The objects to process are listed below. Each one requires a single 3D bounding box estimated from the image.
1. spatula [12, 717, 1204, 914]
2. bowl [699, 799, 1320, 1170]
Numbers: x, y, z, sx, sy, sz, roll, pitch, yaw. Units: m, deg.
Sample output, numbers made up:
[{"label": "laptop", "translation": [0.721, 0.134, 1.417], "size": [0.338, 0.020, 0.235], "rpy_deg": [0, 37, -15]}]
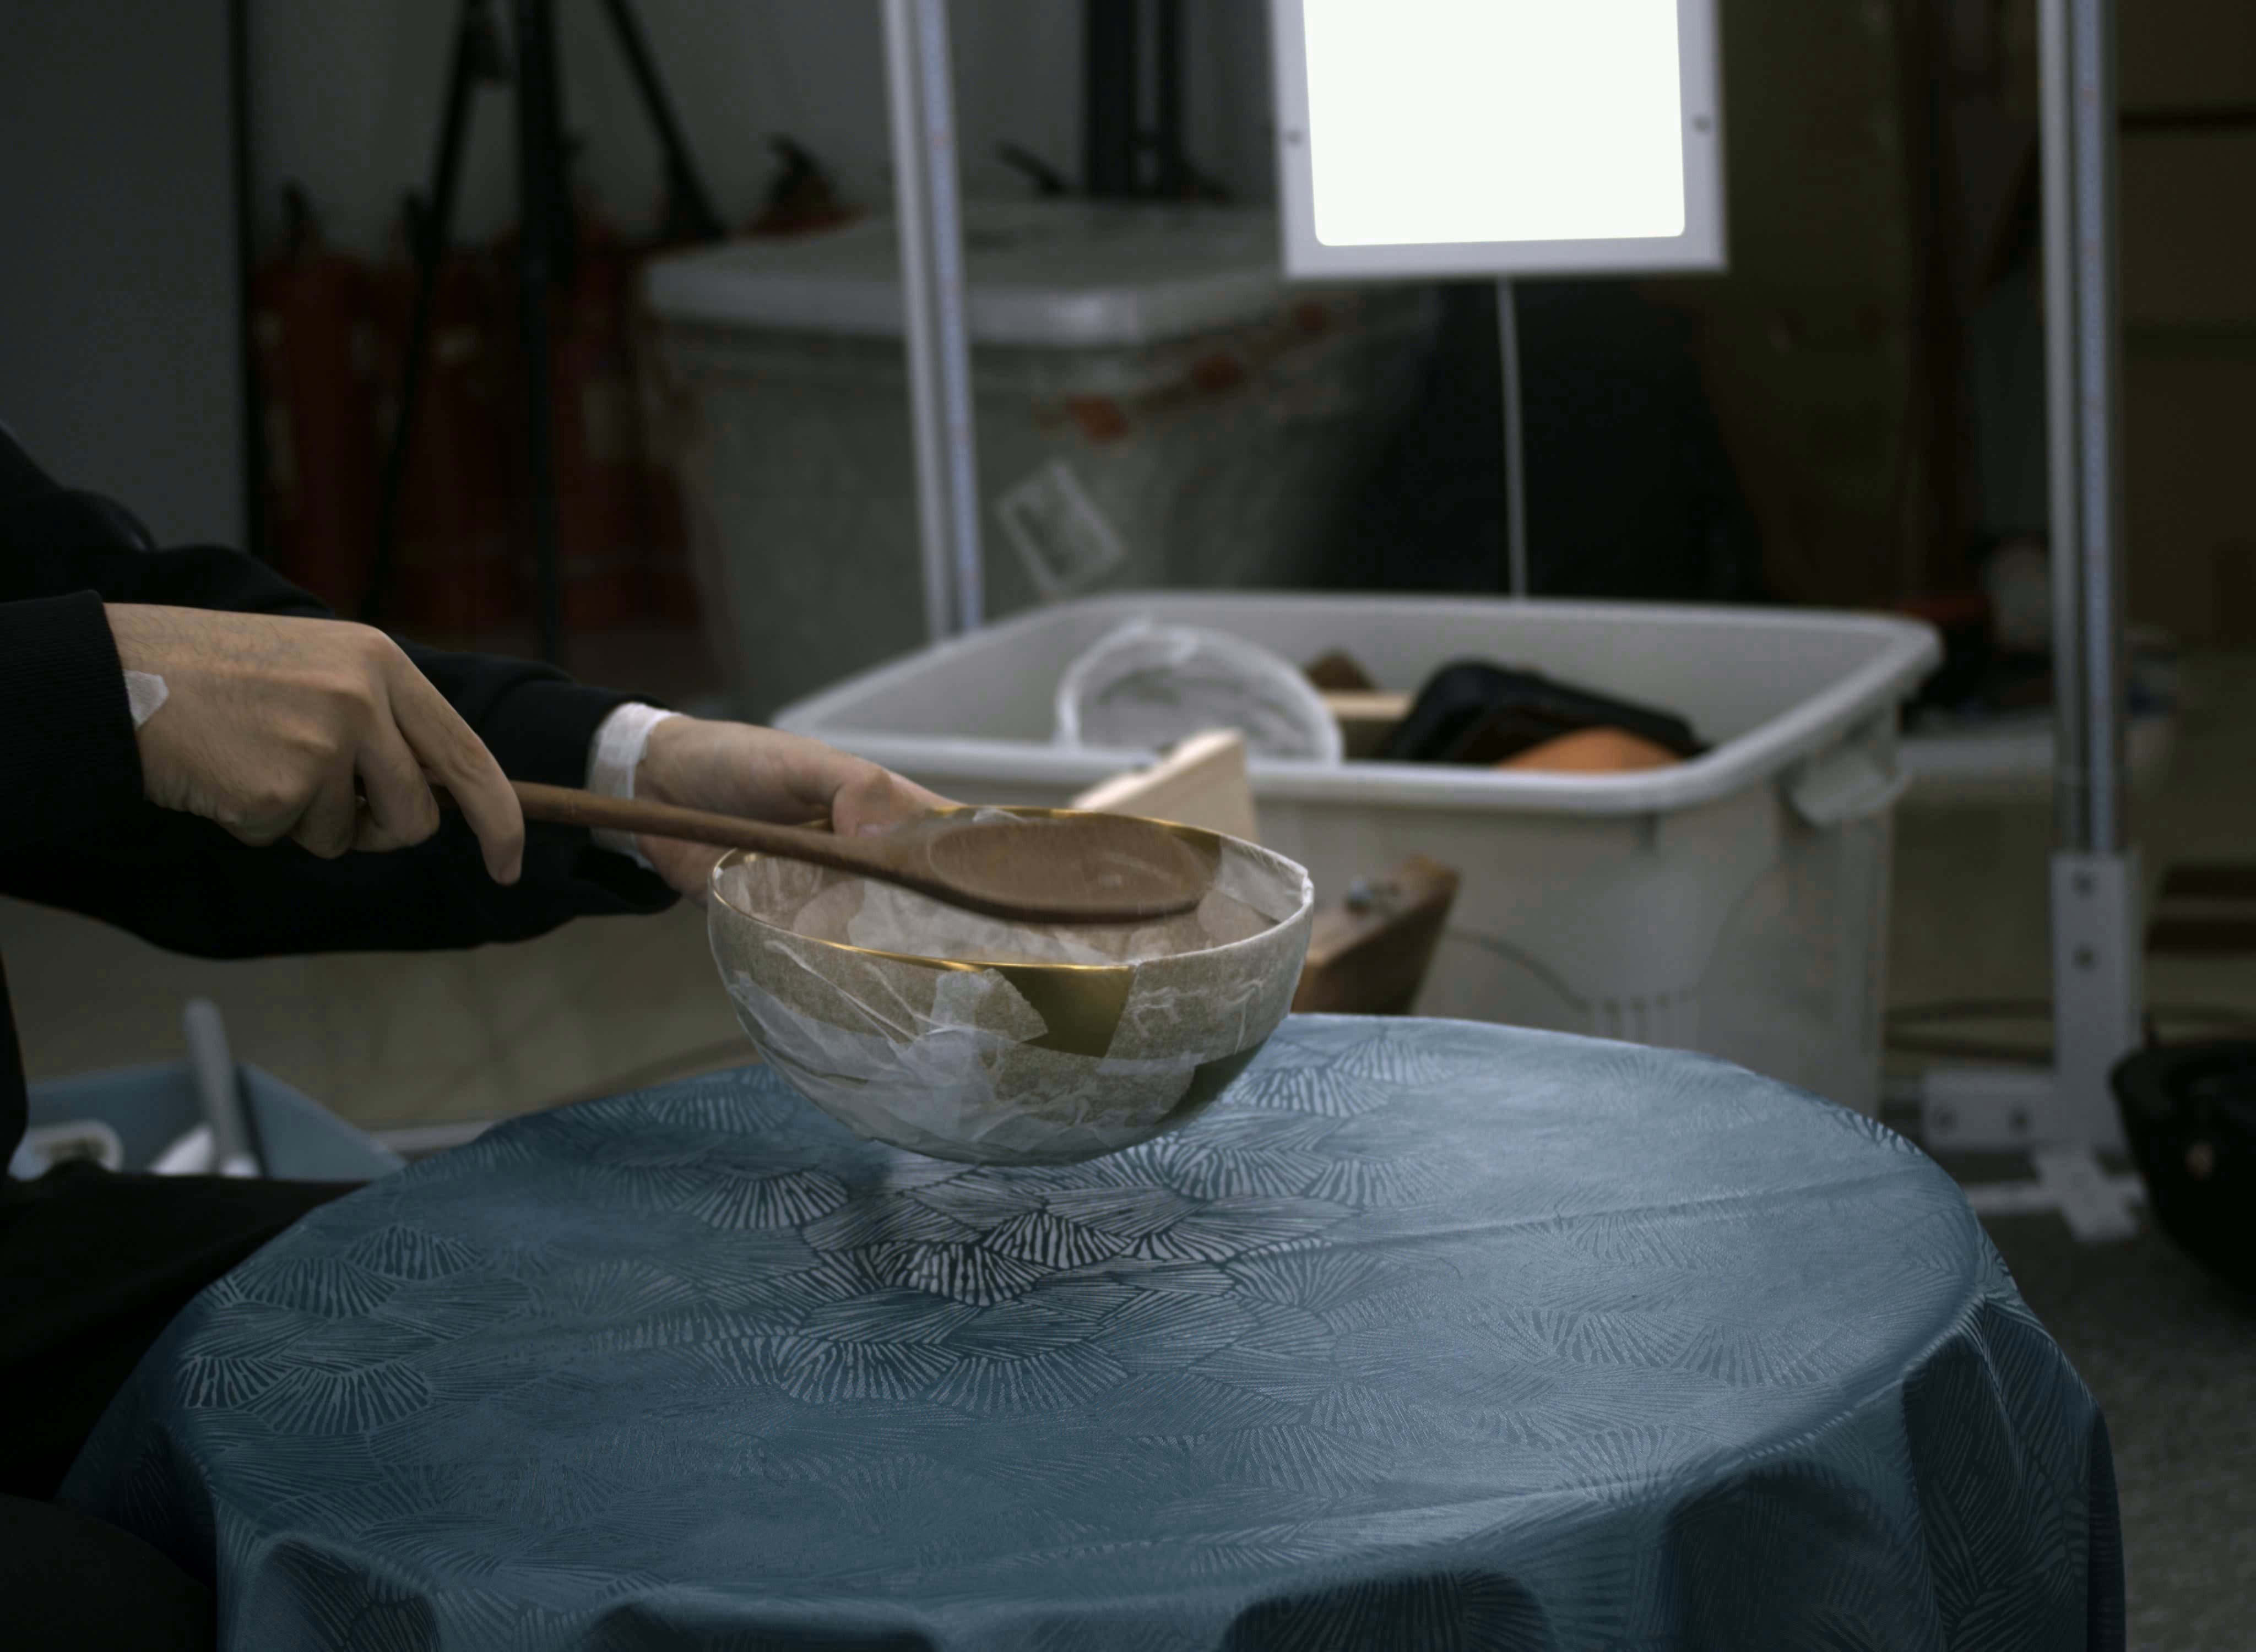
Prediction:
[{"label": "spatula", "translation": [-0.165, -0.006, 1.778], "size": [0.383, 0.016, 0.096], "rpy_deg": [7, 16, -5]}, {"label": "bowl", "translation": [-0.040, 0.059, 1.835], "size": [0.214, 0.095, 0.214], "rpy_deg": [-1, 15, -1]}]
